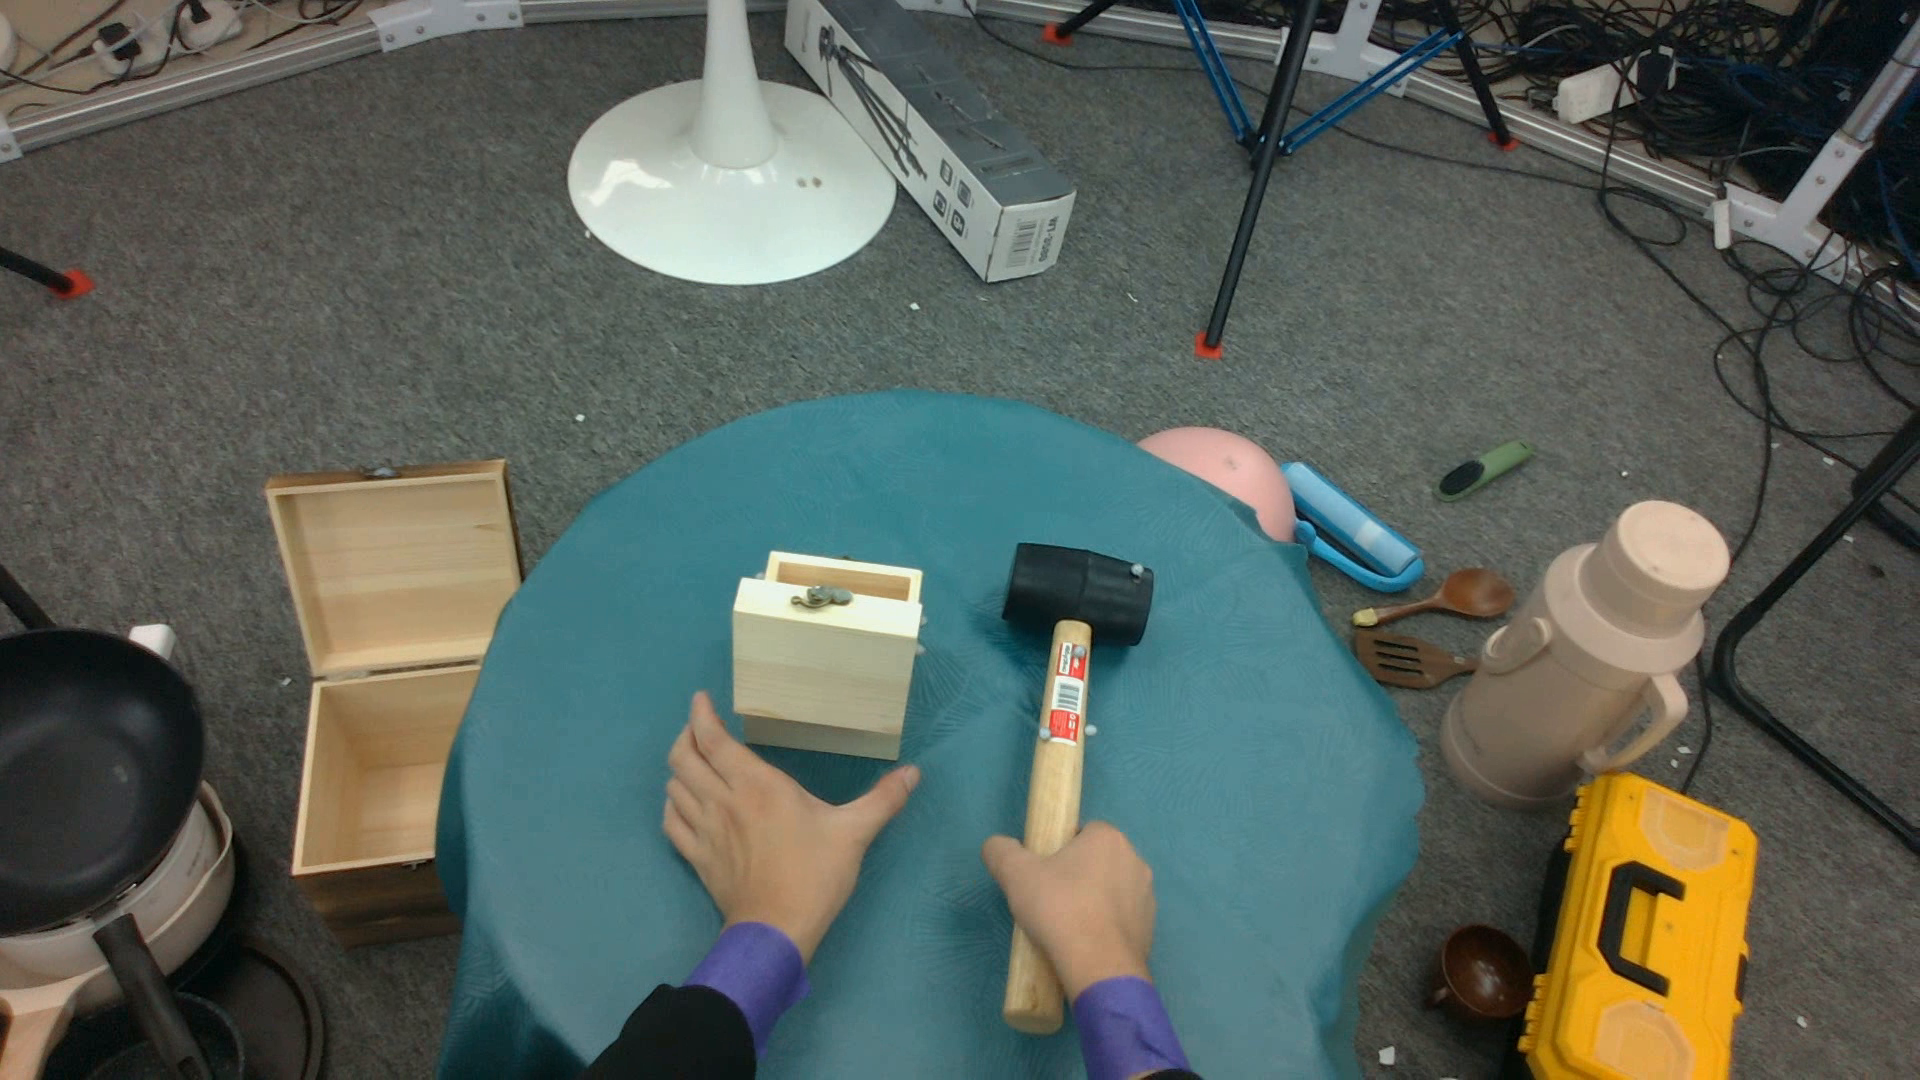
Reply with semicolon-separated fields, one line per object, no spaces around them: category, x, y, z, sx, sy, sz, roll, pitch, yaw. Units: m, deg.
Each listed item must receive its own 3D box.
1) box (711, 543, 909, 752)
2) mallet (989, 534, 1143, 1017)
box;-0.086;0.047;0.844;0.102;0.183;0.134;6;54;-2
mallet;0.056;0.125;0.855;0.102;0.064;0.340;8;44;2
